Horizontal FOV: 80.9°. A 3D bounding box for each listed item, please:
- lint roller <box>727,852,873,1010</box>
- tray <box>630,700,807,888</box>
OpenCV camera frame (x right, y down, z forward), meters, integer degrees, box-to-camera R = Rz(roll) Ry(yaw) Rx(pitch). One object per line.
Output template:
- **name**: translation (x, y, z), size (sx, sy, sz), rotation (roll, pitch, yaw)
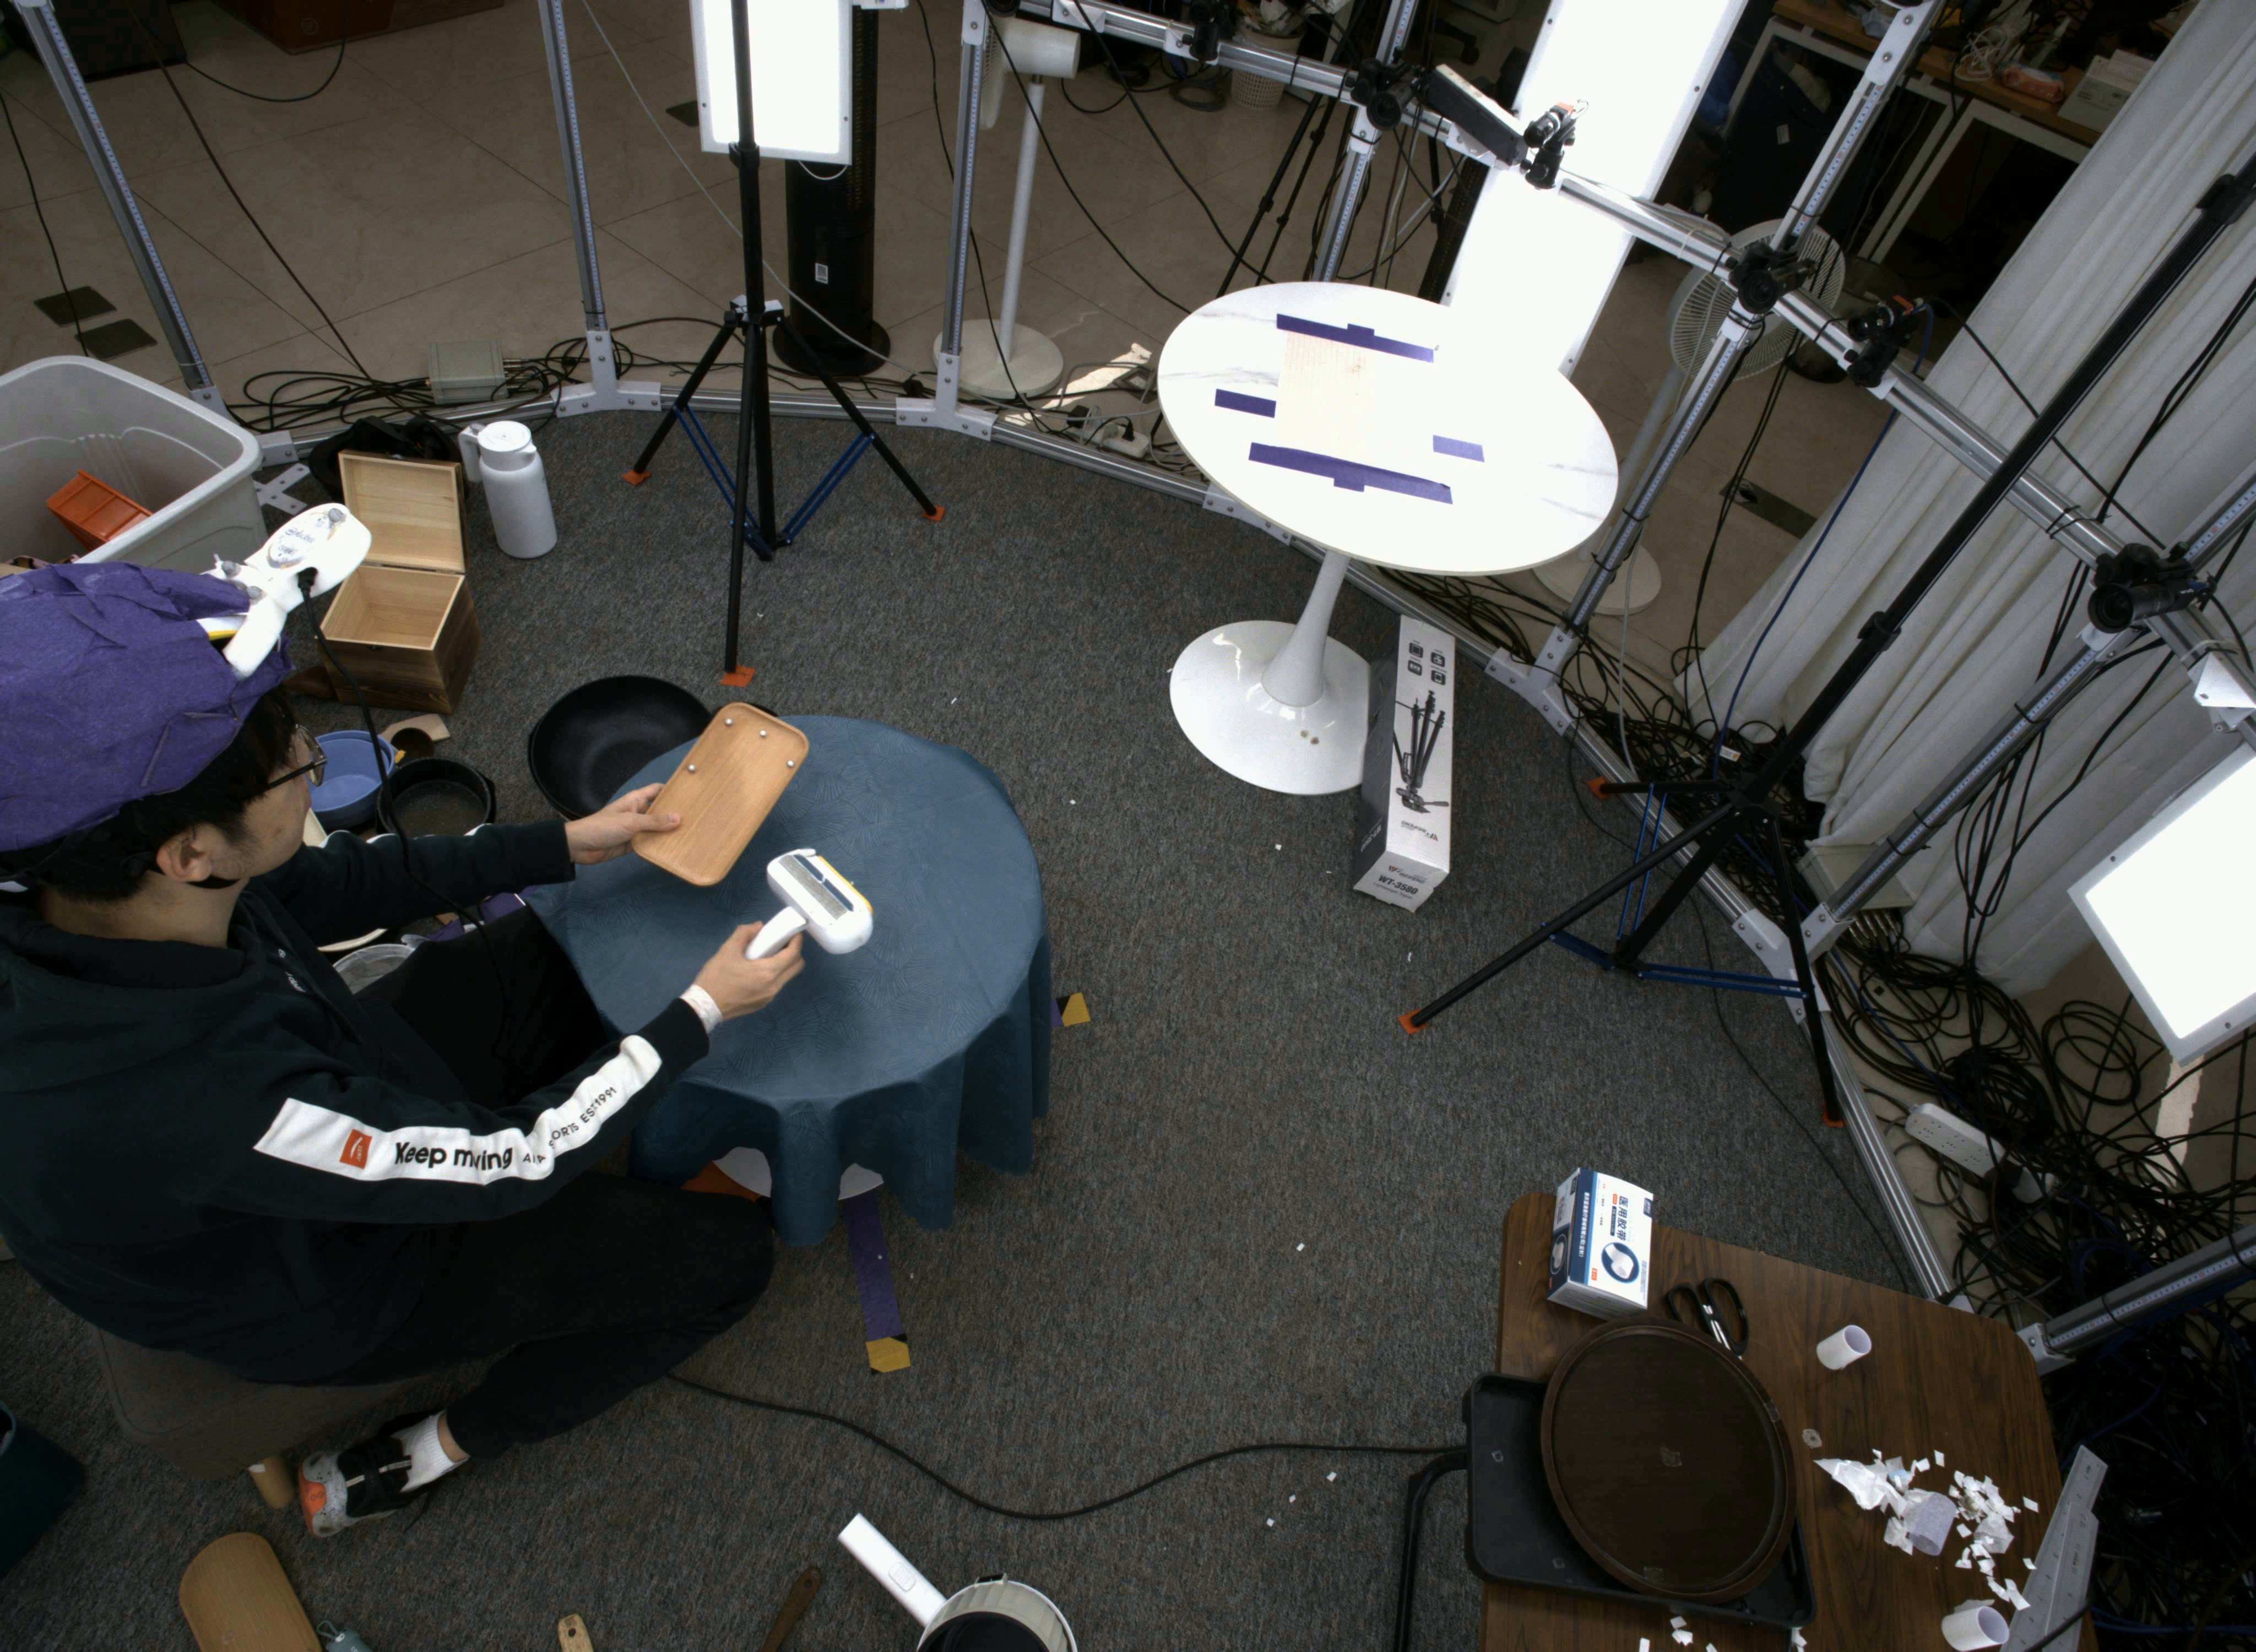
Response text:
- **lint roller**: translation (-0.403, 0.133, 1.523), size (0.192, 0.077, 0.185), rotation (-39, 46, -9)
- **tray**: translation (-0.510, -0.043, 1.613), size (0.130, 0.023, 0.249), rotation (27, 61, -1)
